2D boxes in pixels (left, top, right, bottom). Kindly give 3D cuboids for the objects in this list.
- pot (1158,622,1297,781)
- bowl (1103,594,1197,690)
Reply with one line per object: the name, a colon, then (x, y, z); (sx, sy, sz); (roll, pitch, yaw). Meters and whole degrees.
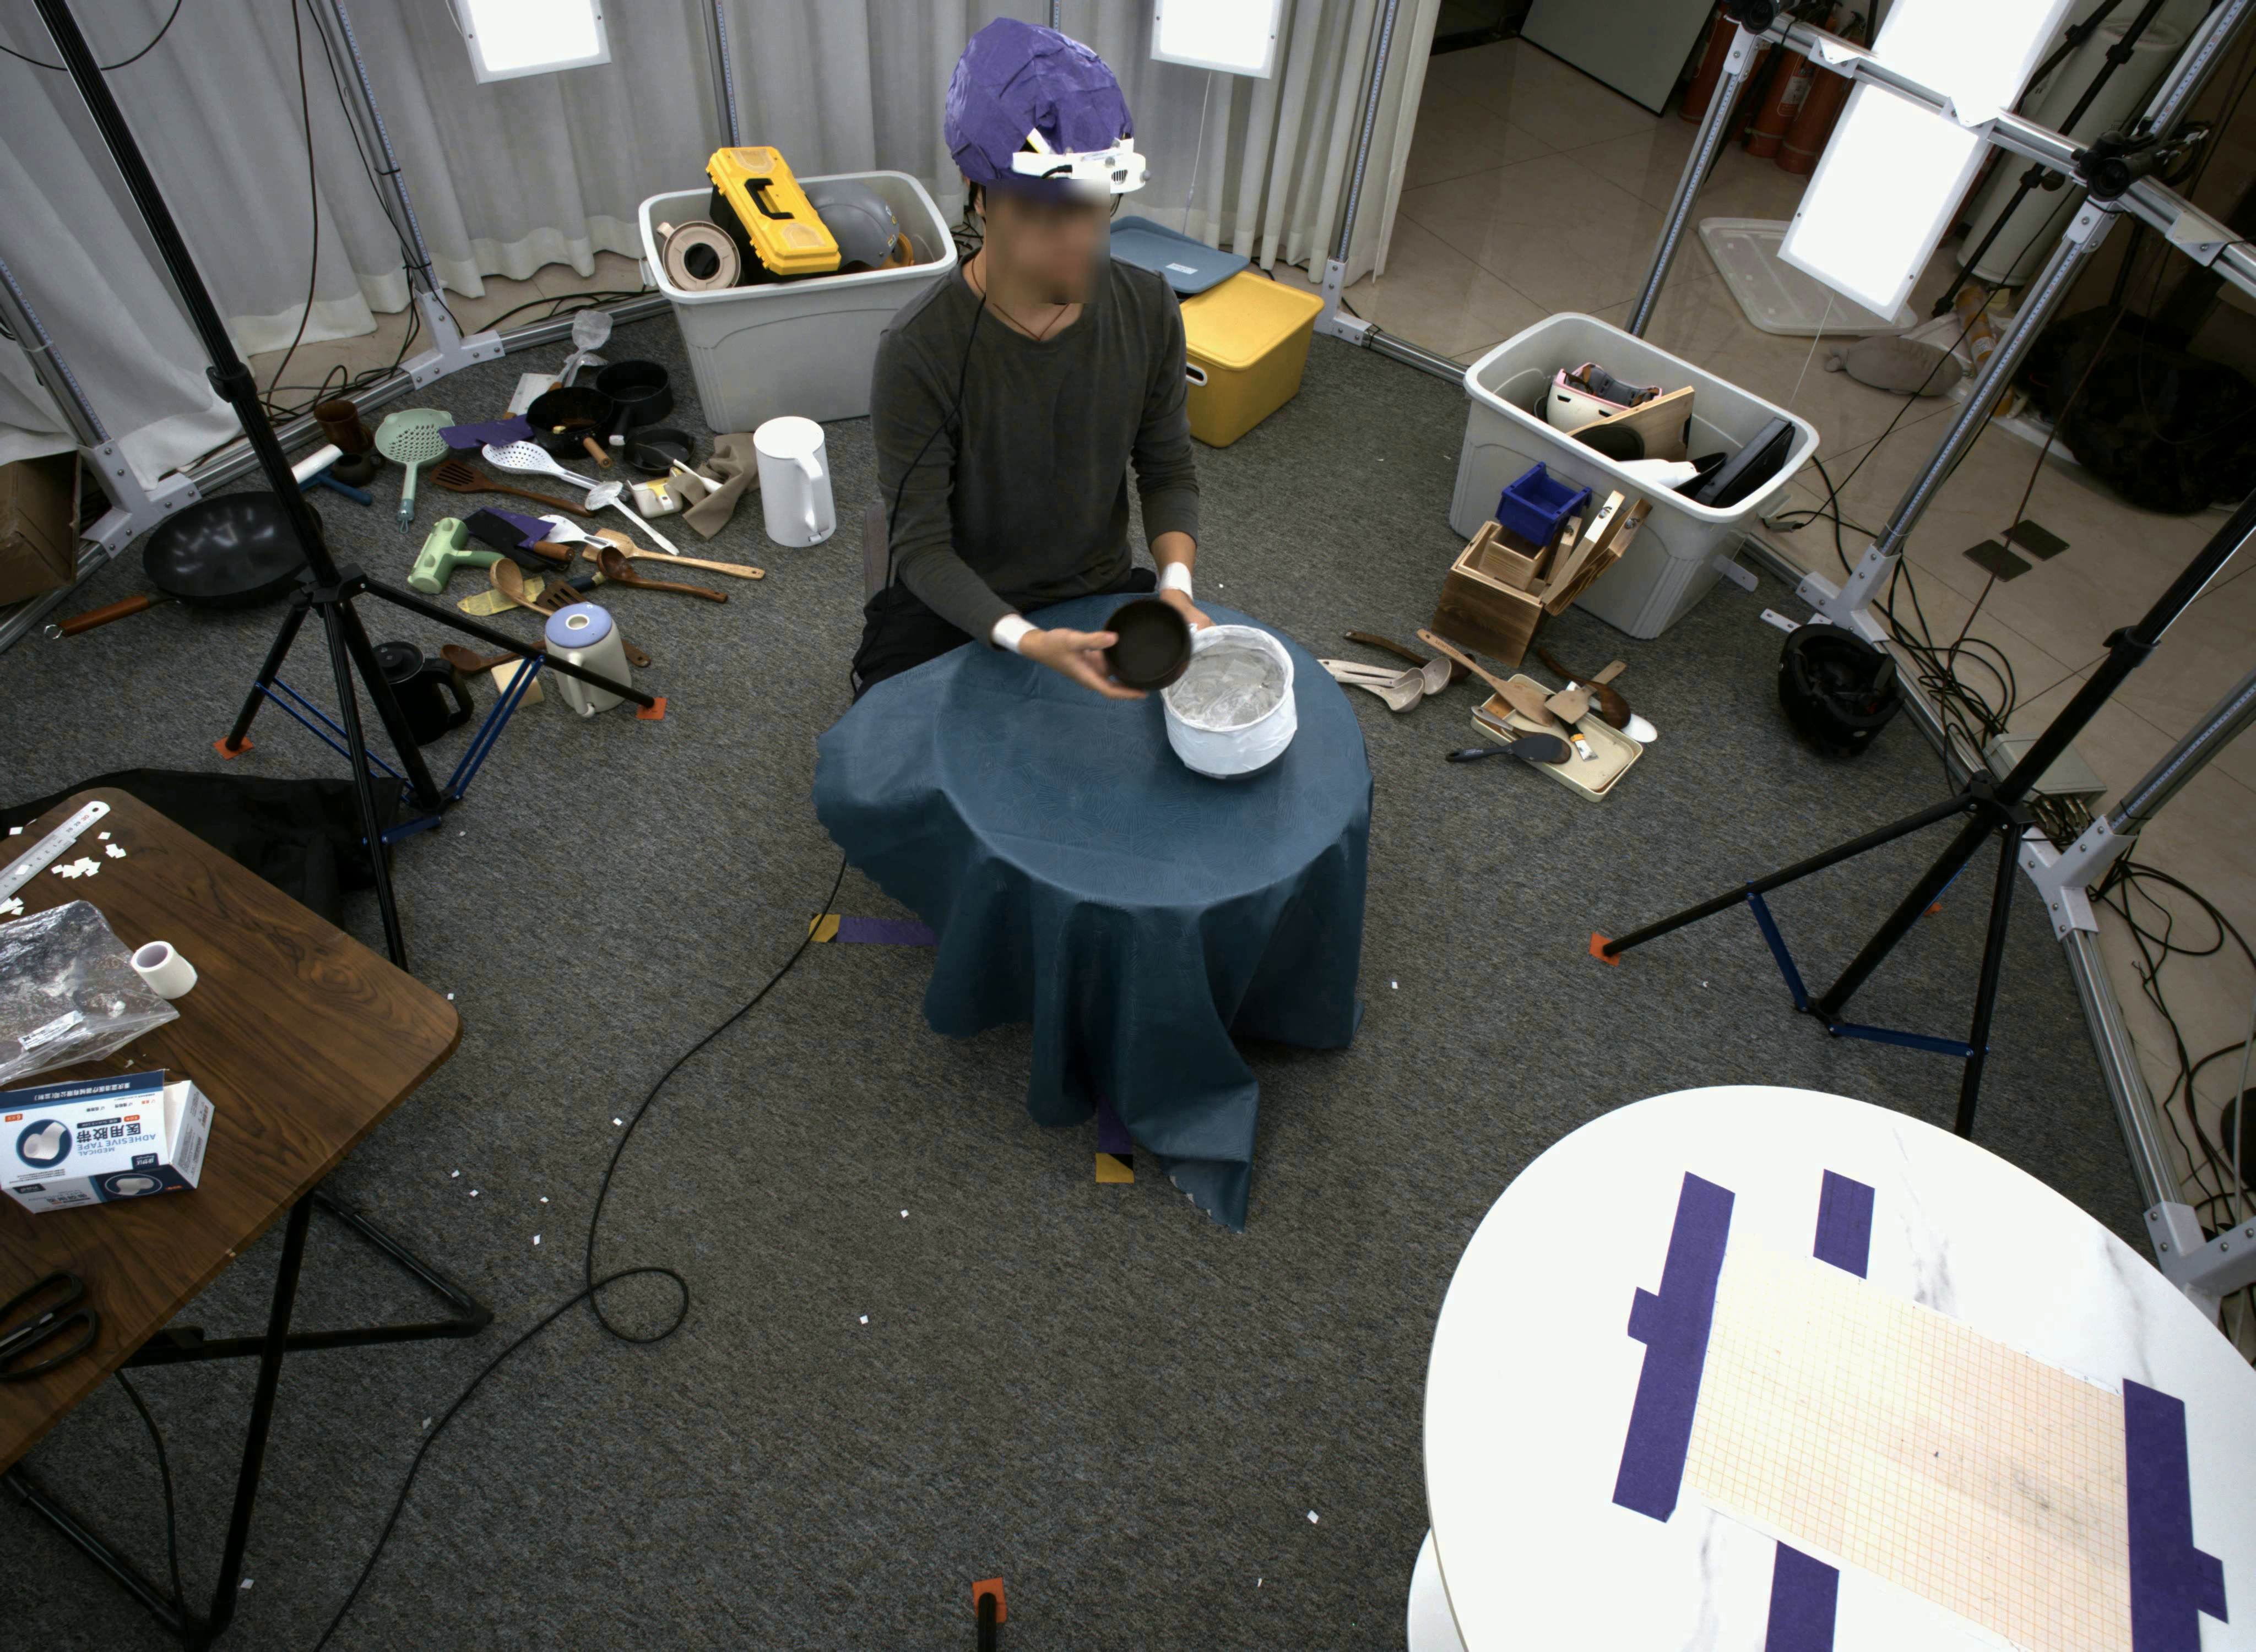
pot: (0.122, -0.180, 1.726); (0.179, 0.133, 0.239); (-26, 56, -8)
bowl: (0.031, -0.228, 1.633); (0.118, 0.069, 0.120); (-4, 71, 11)
